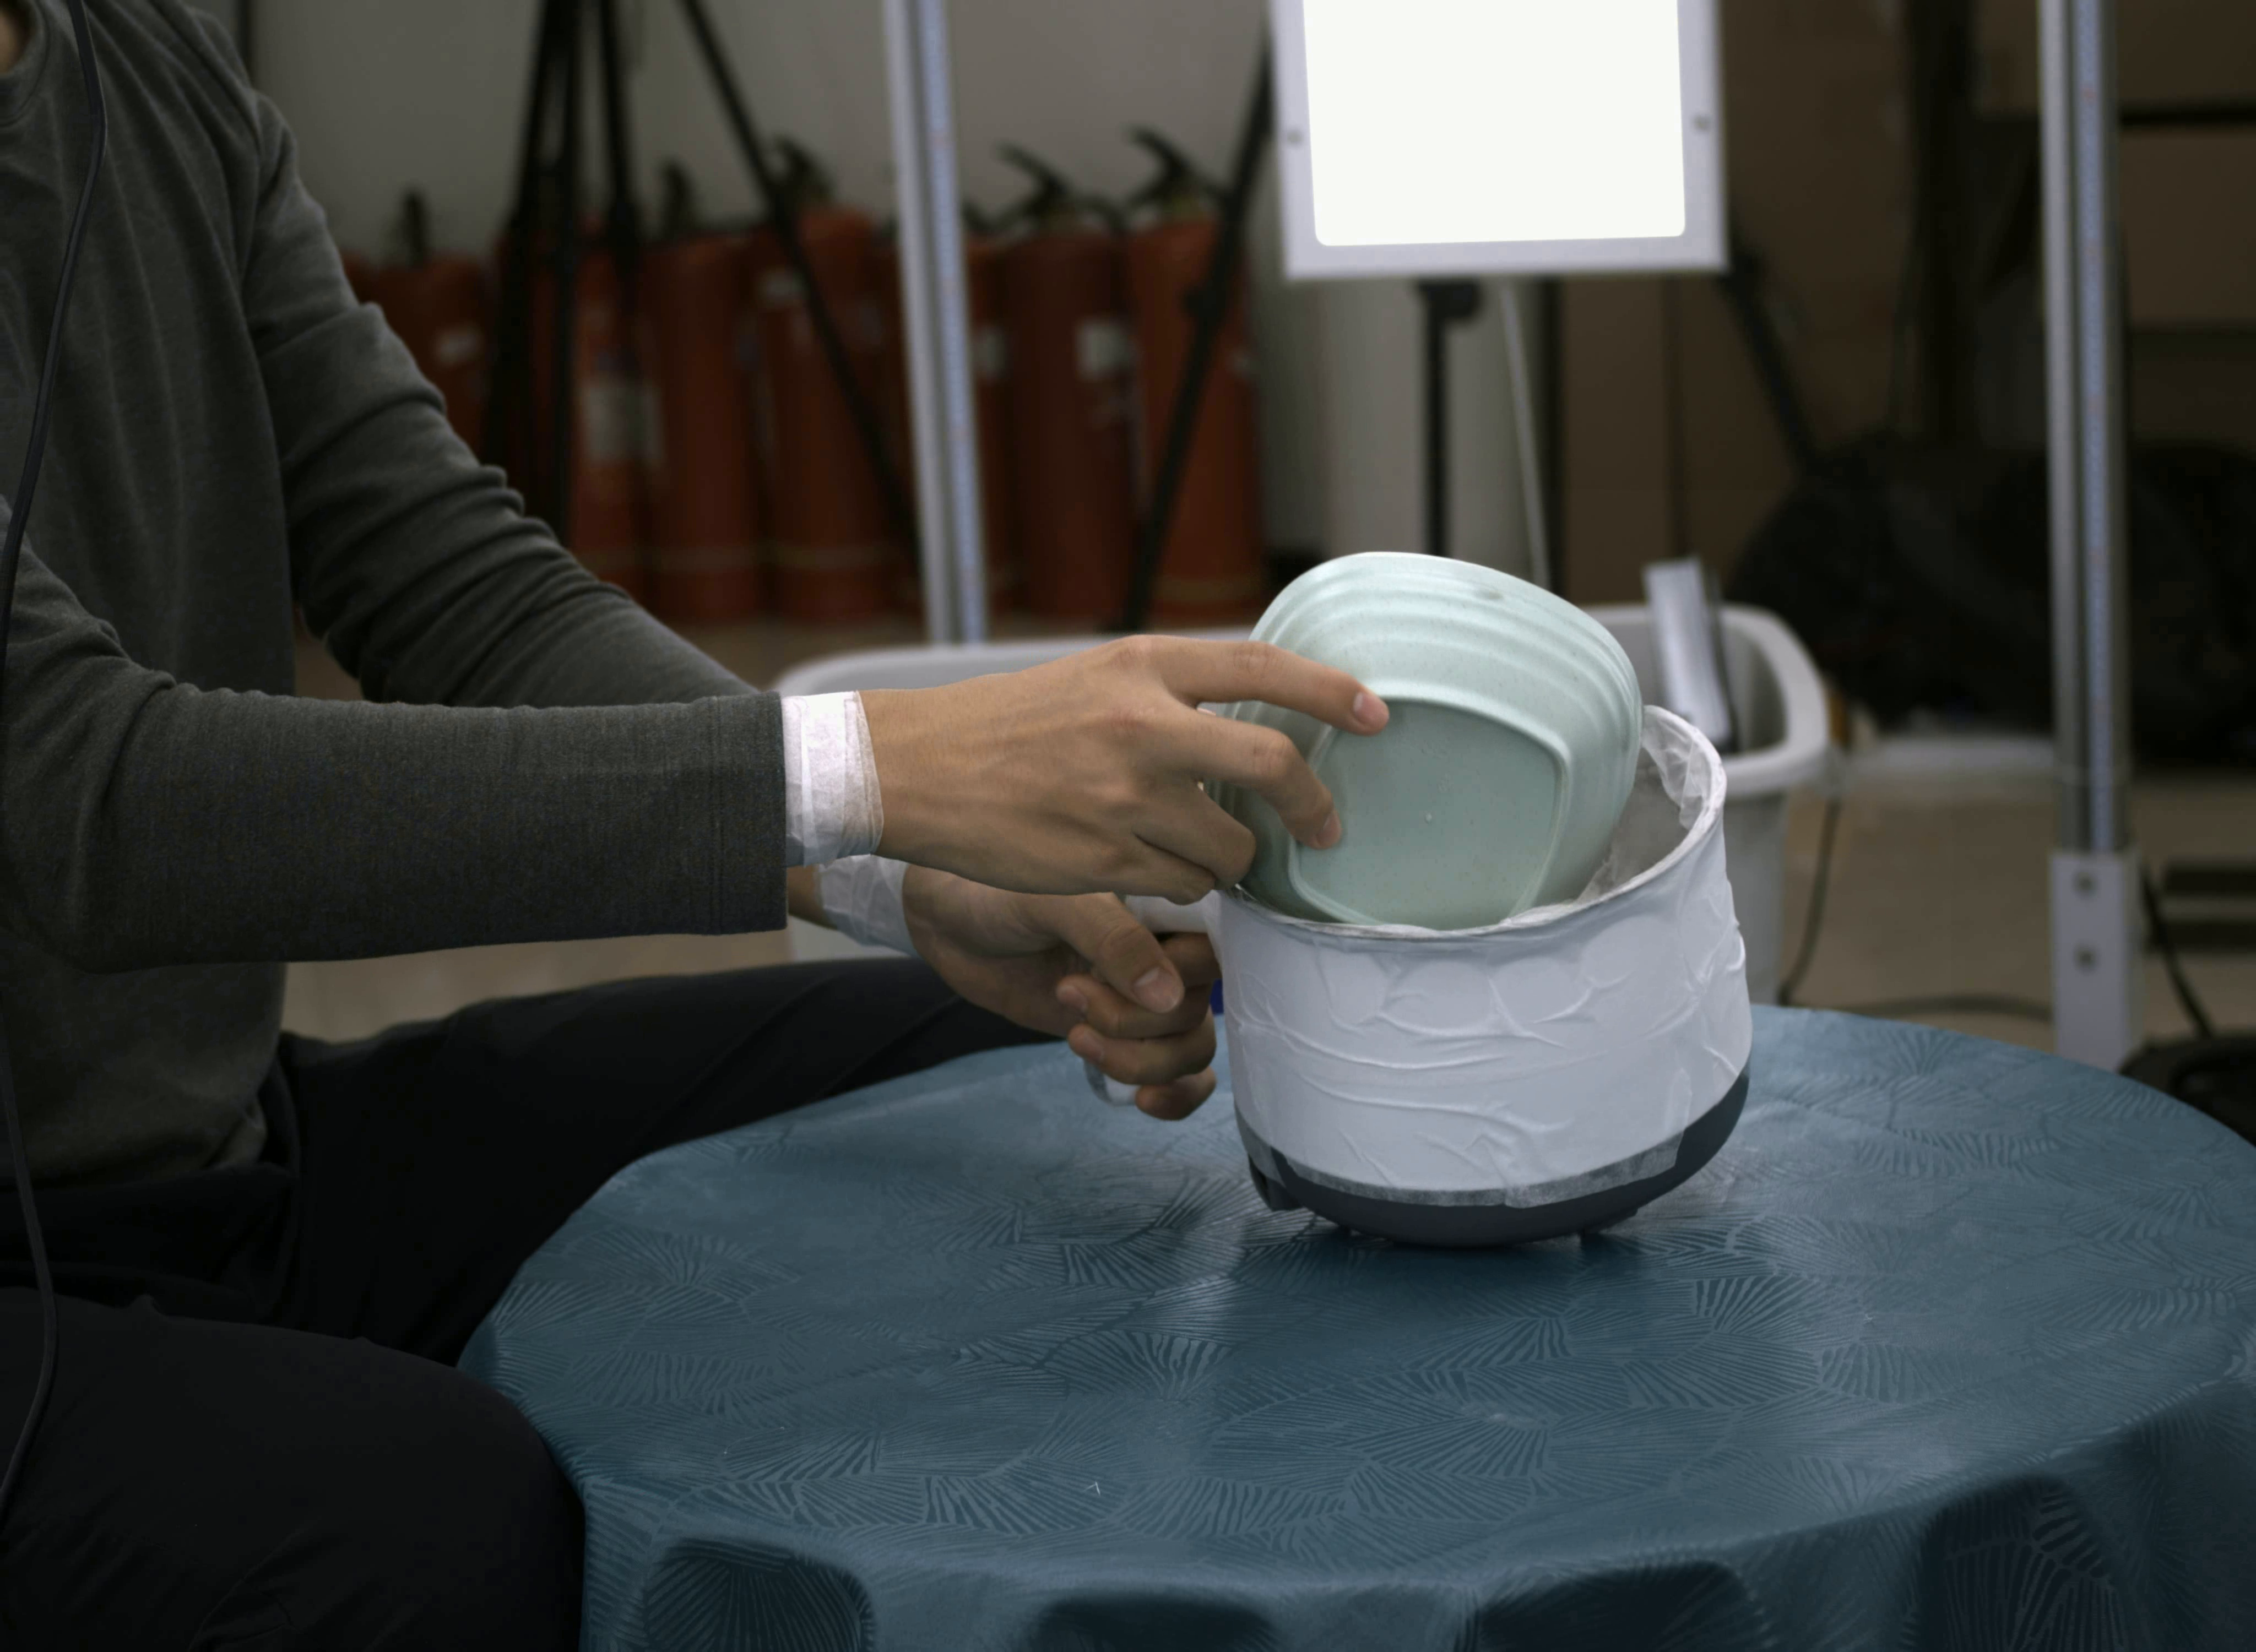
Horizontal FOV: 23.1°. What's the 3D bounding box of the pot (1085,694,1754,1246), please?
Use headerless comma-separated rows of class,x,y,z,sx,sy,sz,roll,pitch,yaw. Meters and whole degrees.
pot,0.093,0.048,1.853,0.237,0.137,0.176,0,28,19

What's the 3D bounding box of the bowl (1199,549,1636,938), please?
bowl,0.094,-0.013,1.771,0.152,0.152,0.058,-3,22,6
